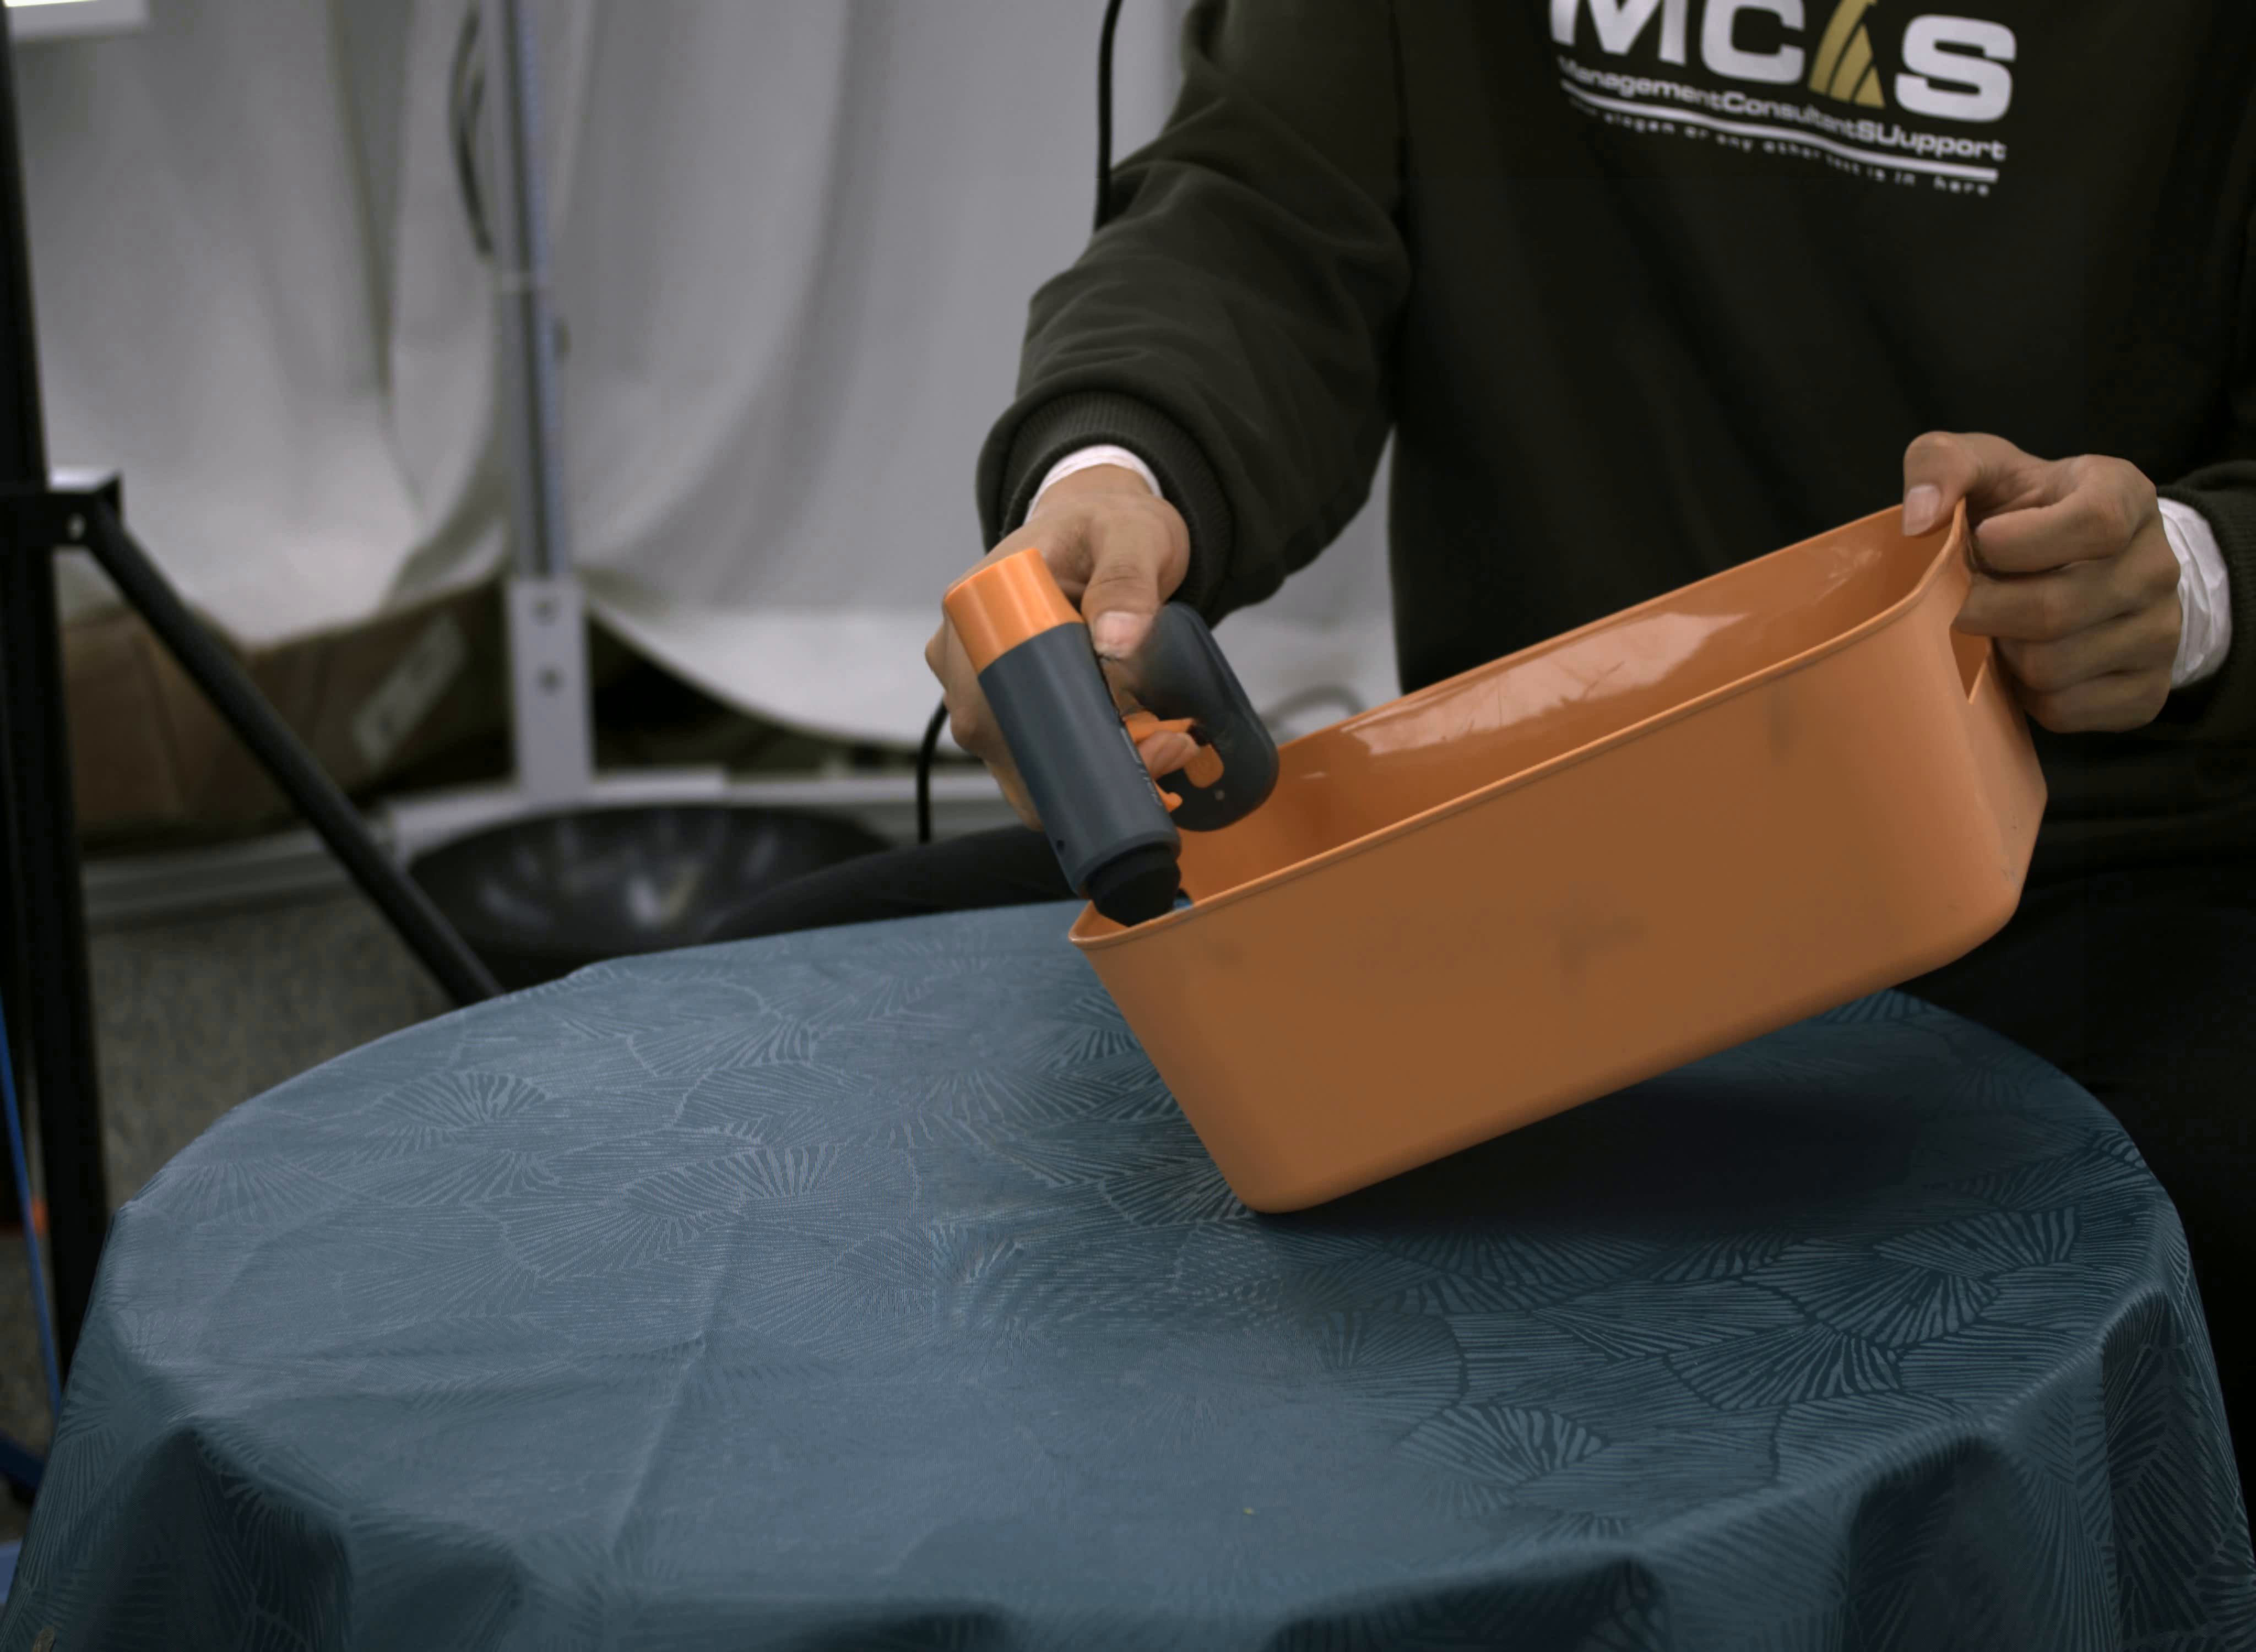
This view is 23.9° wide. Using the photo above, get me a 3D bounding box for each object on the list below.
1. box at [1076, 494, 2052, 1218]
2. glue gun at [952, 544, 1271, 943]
[{"bbox_3d":[0.136,0.012,1.551,0.275,0.102,0.198,-23,8,18],"label":"box"},{"bbox_3d":[-0.002,-0.024,1.560,0.041,0.119,0.138,-29,-5,18],"label":"glue gun"}]
